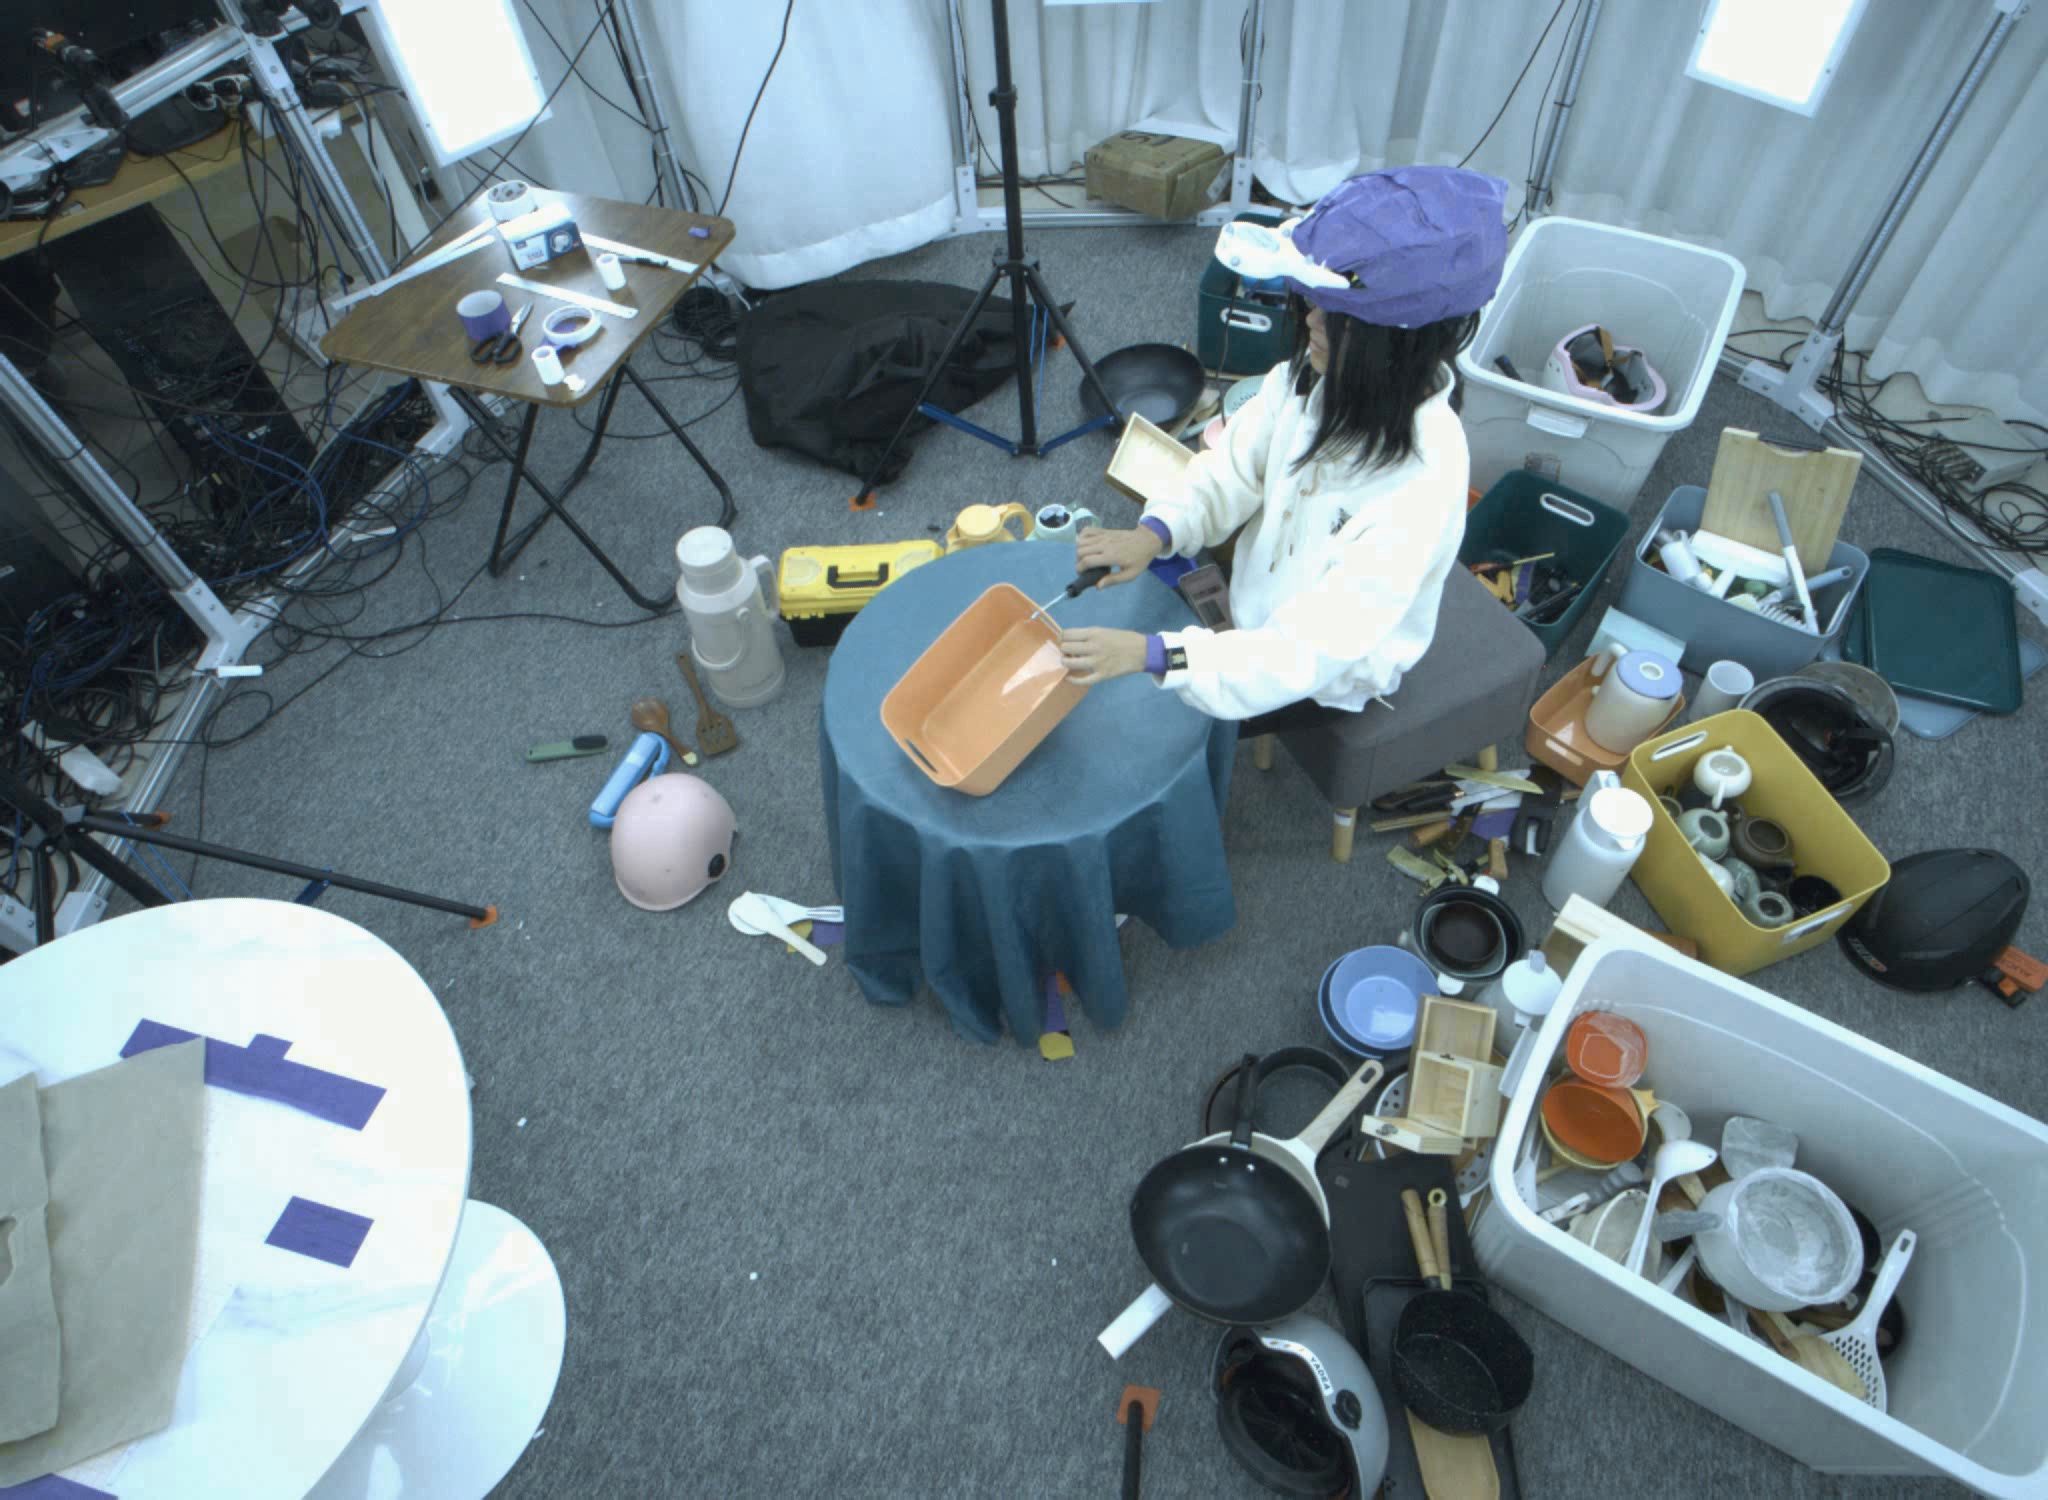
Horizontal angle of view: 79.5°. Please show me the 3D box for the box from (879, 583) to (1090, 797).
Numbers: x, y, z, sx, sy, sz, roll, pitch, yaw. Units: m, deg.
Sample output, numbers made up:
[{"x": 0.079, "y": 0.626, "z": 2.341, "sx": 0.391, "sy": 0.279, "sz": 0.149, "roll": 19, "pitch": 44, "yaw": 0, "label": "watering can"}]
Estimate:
[{"x": -0.048, "y": -0.076, "z": 1.723, "sx": 0.273, "sy": 0.104, "sz": 0.195, "roll": -47, "pitch": 61, "yaw": 5, "label": "box"}]

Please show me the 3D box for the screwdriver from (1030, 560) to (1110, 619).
[{"x": 0.062, "y": -0.231, "z": 1.776, "sx": 0.031, "sy": 0.031, "sz": 0.198, "roll": 33, "pitch": 46, "yaw": 23, "label": "screwdriver"}]
